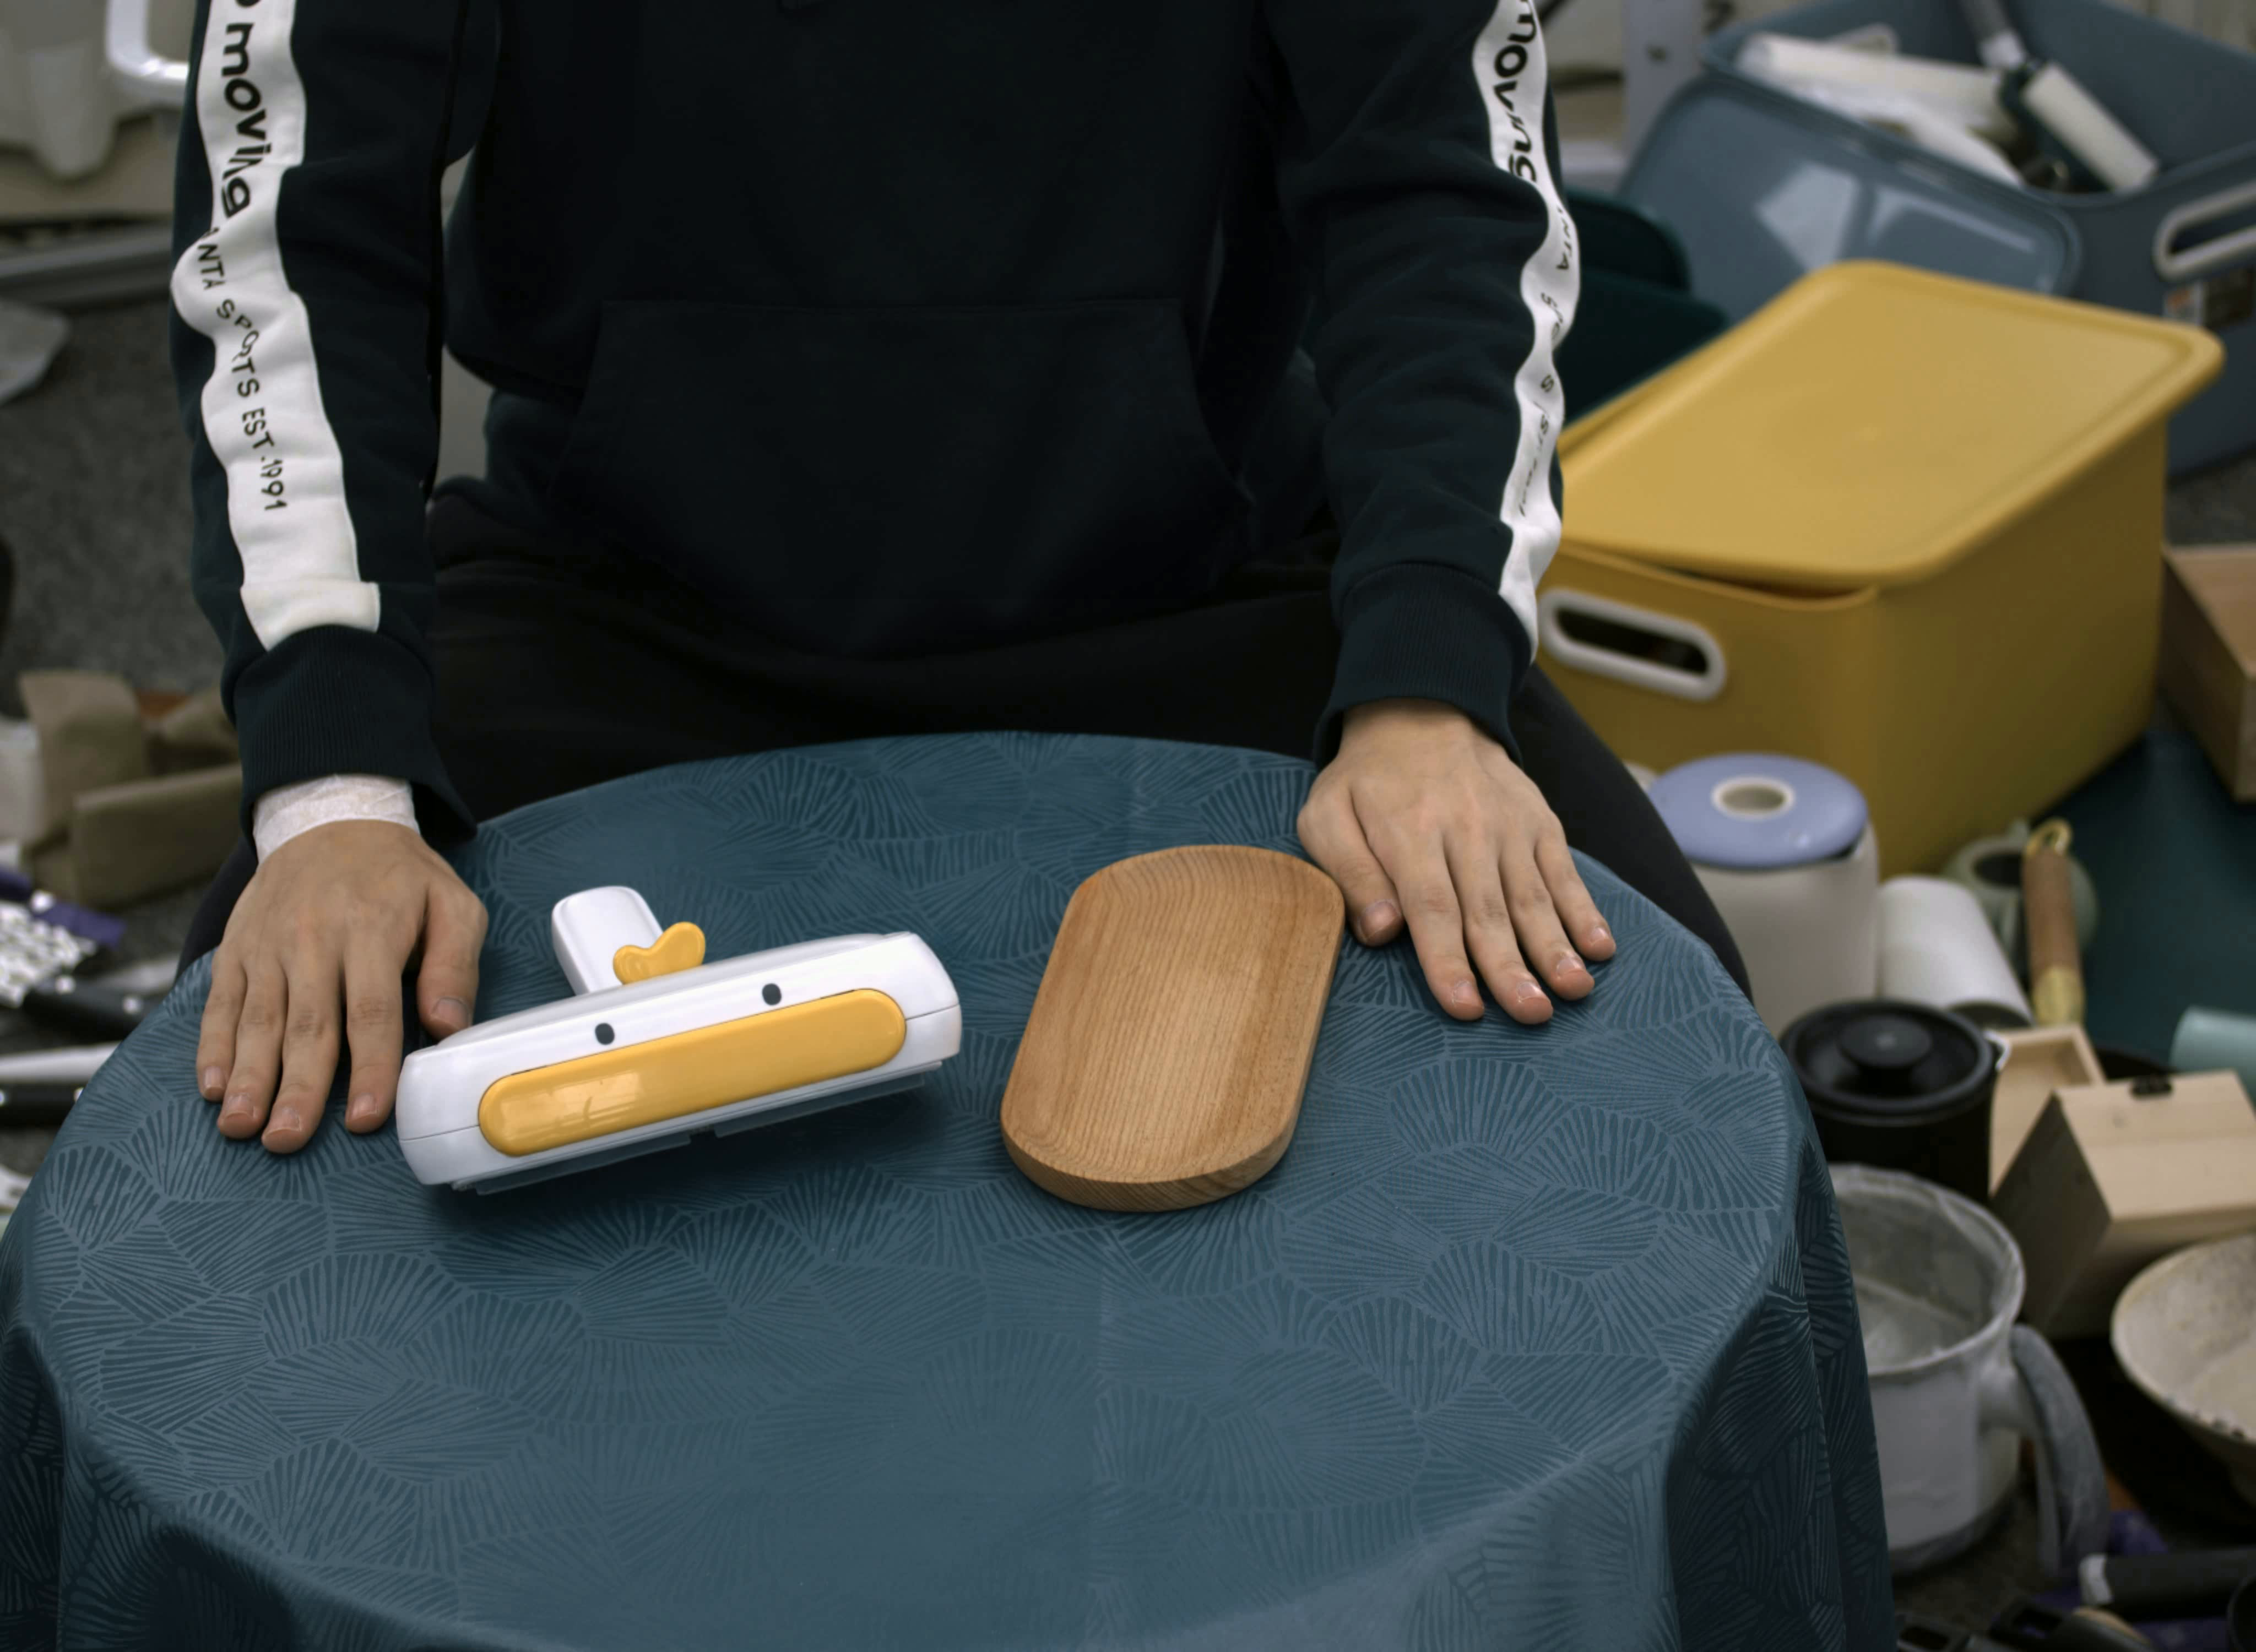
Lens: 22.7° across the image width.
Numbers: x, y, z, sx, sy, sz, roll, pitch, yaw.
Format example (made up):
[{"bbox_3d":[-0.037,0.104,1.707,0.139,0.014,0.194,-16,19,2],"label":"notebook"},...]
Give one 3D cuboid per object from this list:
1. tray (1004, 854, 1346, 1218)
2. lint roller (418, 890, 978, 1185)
[{"bbox_3d":[0.018,0.070,1.940,0.101,0.020,0.235,1,29,9],"label":"tray"},{"bbox_3d":[-0.164,0.063,1.937,0.193,0.074,0.192,-19,11,-16],"label":"lint roller"}]
